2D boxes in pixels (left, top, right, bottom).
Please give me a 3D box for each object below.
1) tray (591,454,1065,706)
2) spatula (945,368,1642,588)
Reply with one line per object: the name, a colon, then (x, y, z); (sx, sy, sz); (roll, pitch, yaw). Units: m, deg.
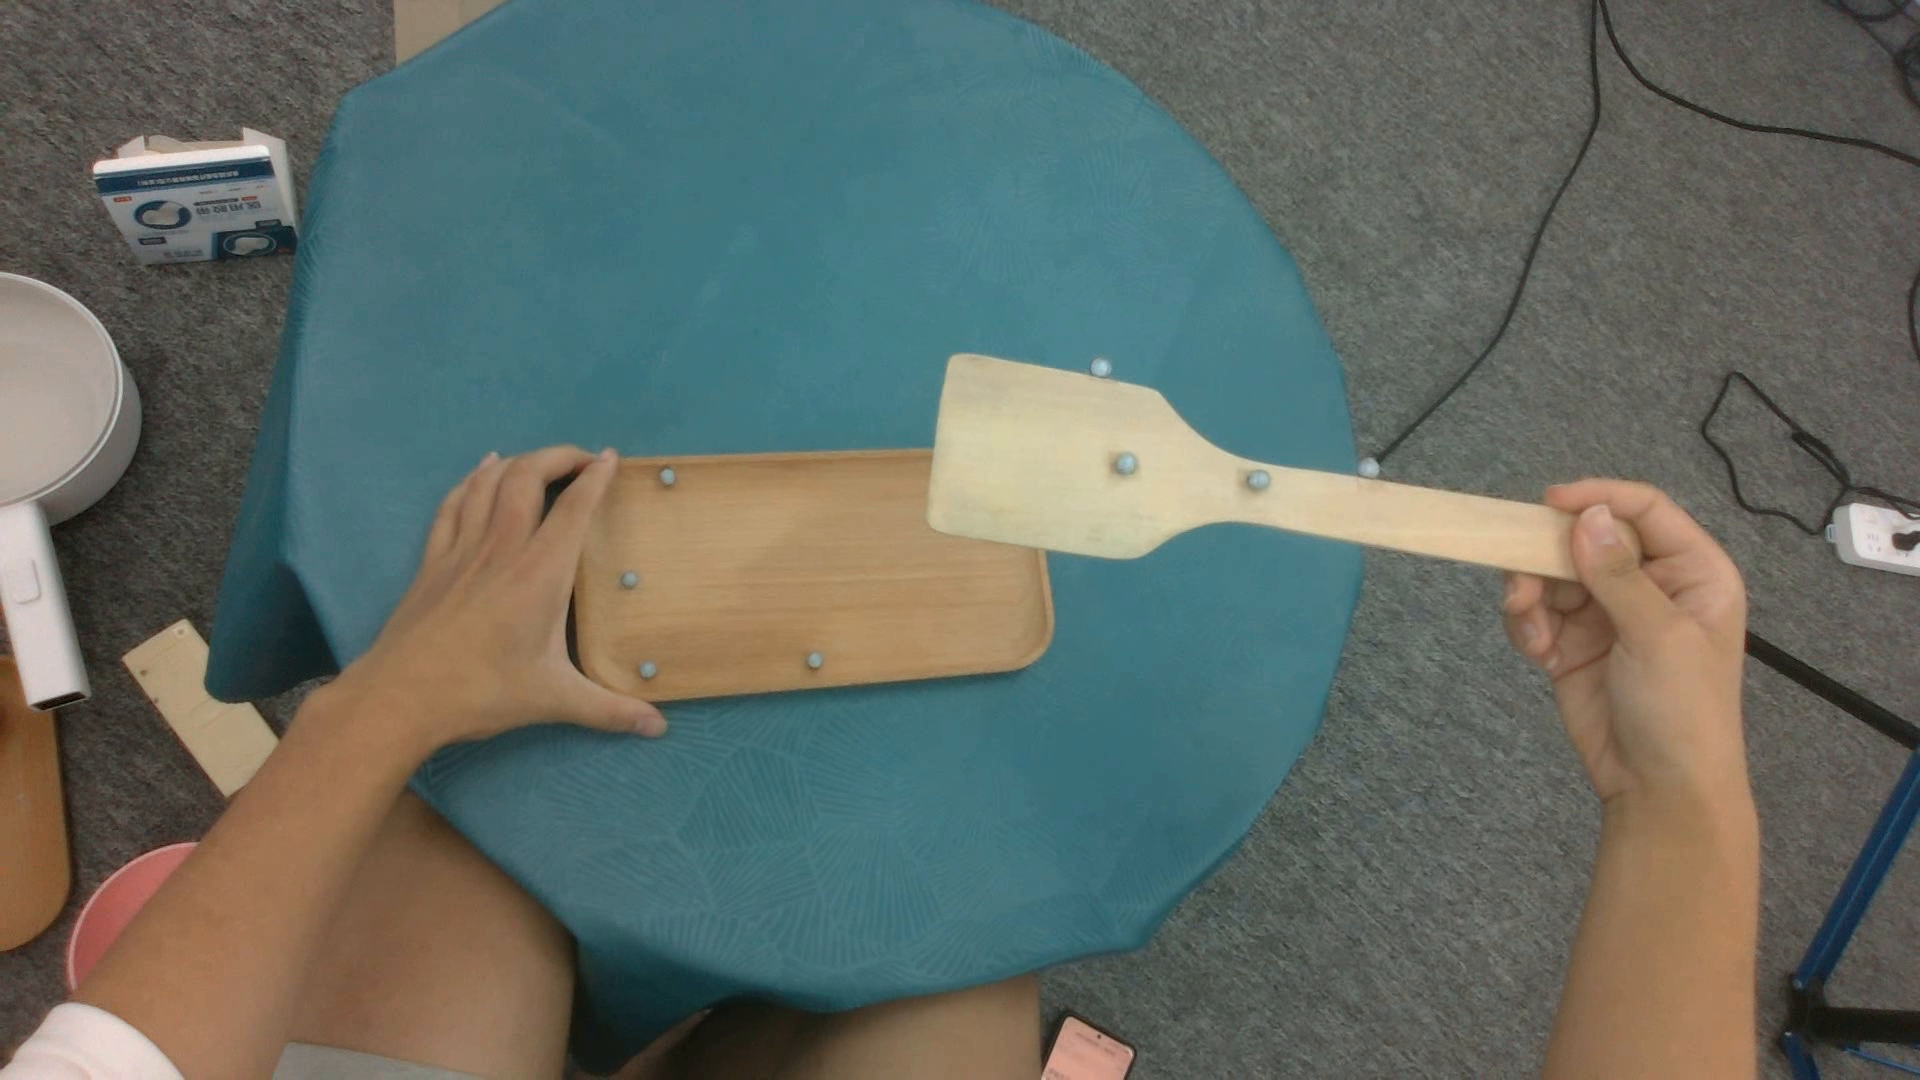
tray: (-0.067, 0.018, 0.740); (0.251, 0.023, 0.131); (-2, 77, -17)
spatula: (0.140, -0.014, 0.551); (0.293, 0.010, 0.072); (8, 81, -9)
